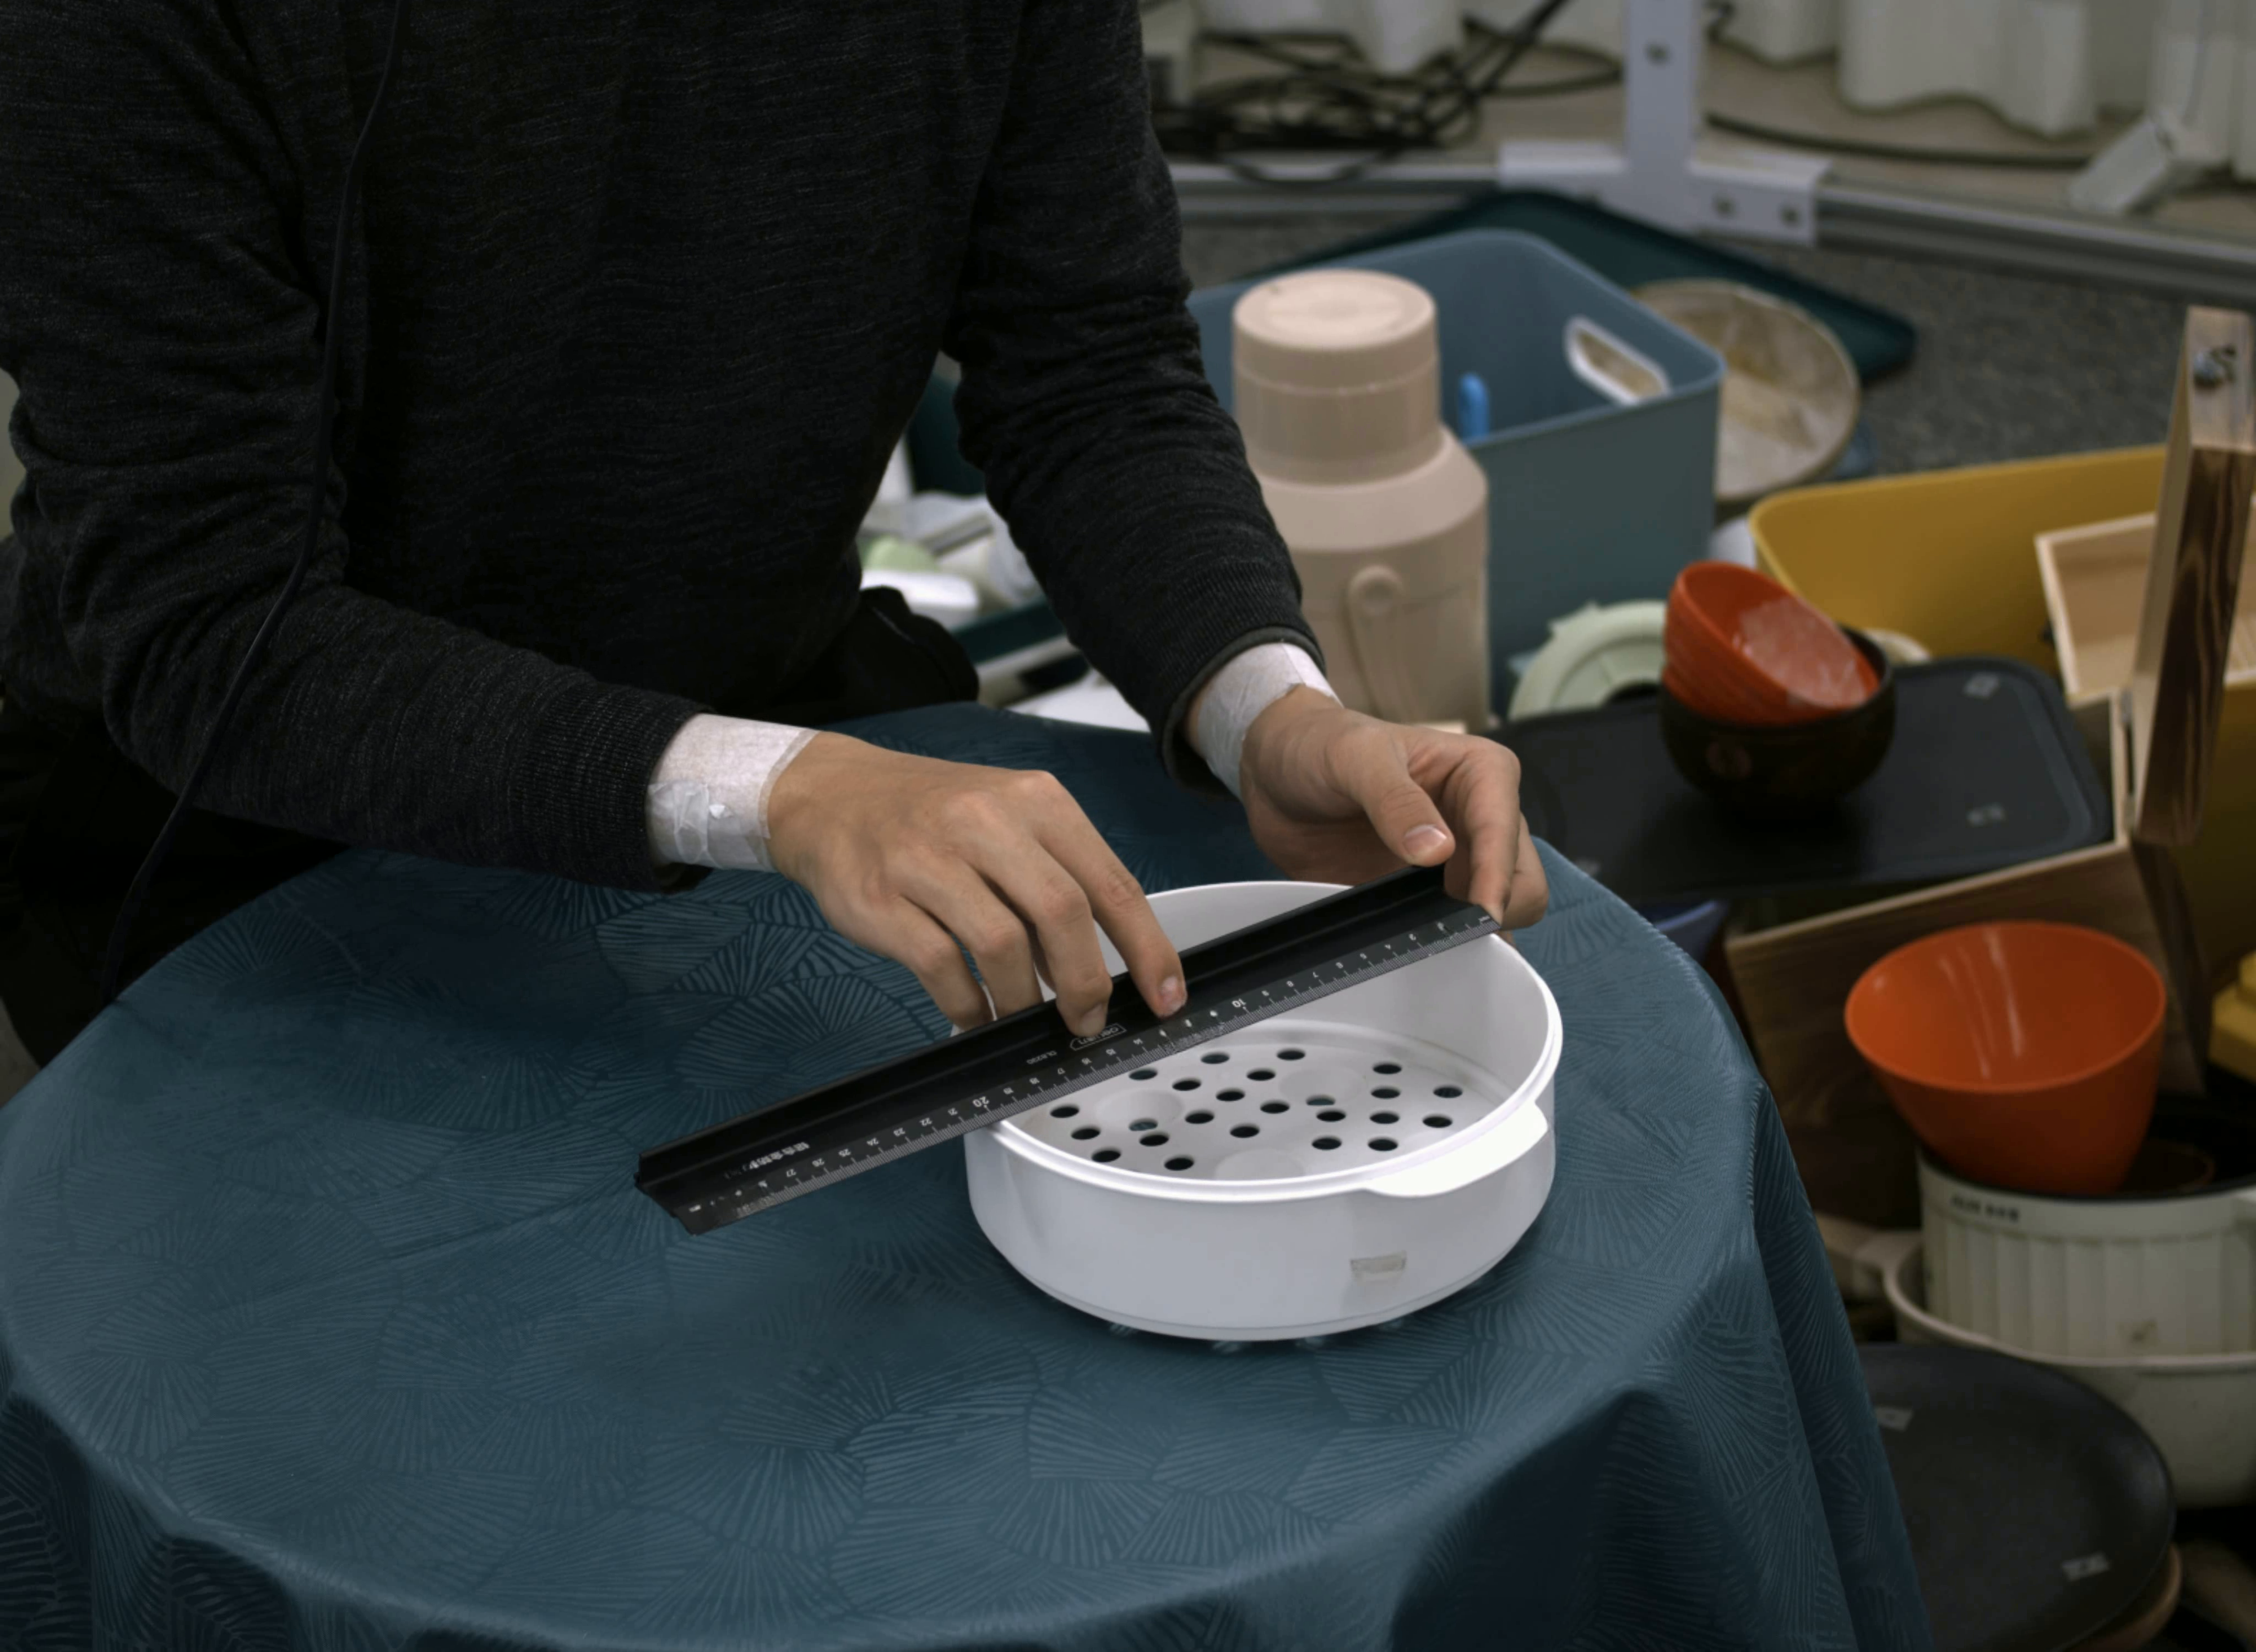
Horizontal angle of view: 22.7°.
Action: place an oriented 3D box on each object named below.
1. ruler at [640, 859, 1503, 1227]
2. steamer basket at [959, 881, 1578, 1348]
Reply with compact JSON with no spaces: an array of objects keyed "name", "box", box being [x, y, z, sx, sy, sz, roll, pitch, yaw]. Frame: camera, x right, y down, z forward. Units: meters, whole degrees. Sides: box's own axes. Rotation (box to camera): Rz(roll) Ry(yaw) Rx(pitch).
[{"name":"ruler","box":[-0.014,0.067,1.808,0.315,0.017,0.039,-19,35,-29]},{"name":"steamer basket","box":[0.046,0.095,1.835,0.204,0.068,0.231,-23,36,-34]}]
